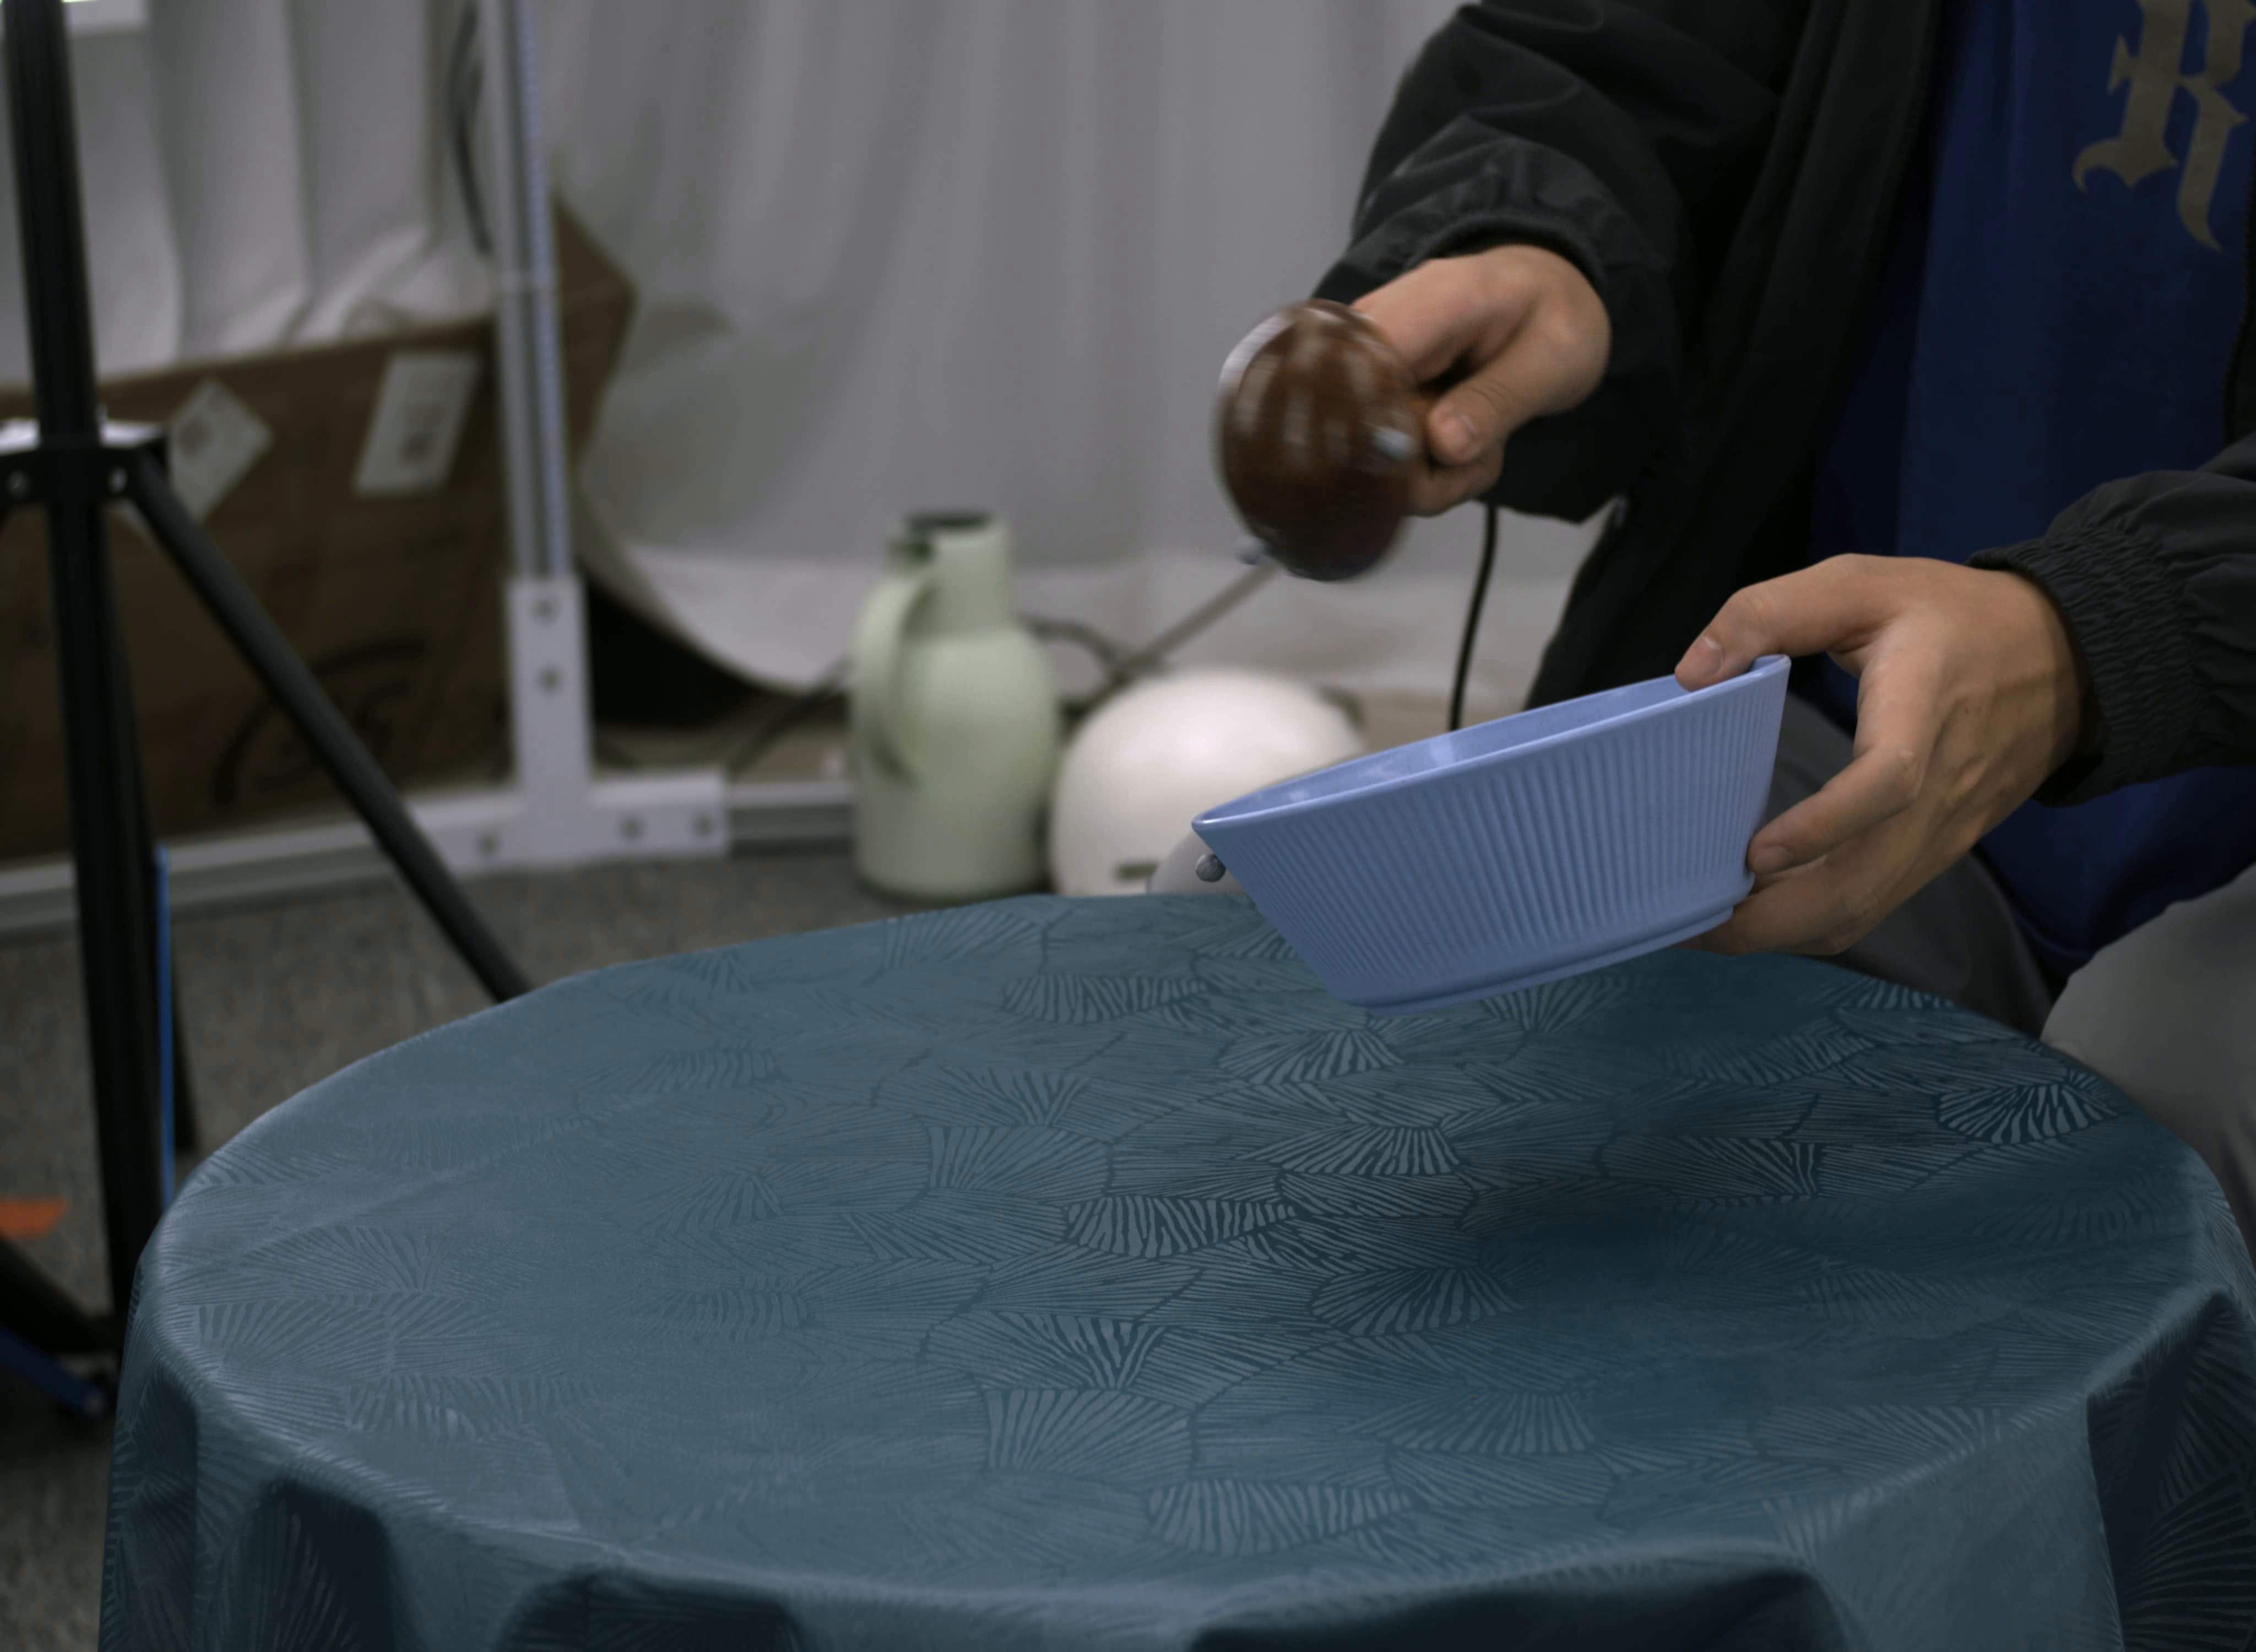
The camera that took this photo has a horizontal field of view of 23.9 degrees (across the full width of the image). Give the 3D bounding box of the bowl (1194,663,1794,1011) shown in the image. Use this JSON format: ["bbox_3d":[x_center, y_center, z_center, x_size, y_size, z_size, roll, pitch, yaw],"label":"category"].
[{"bbox_3d":[0.111,0.007,1.507,0.175,0.070,0.176,-15,2,-1],"label":"bowl"}]

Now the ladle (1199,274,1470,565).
[{"bbox_3d":[0.087,-0.122,1.609,0.077,0.082,0.269,2,5,22],"label":"ladle"}]
